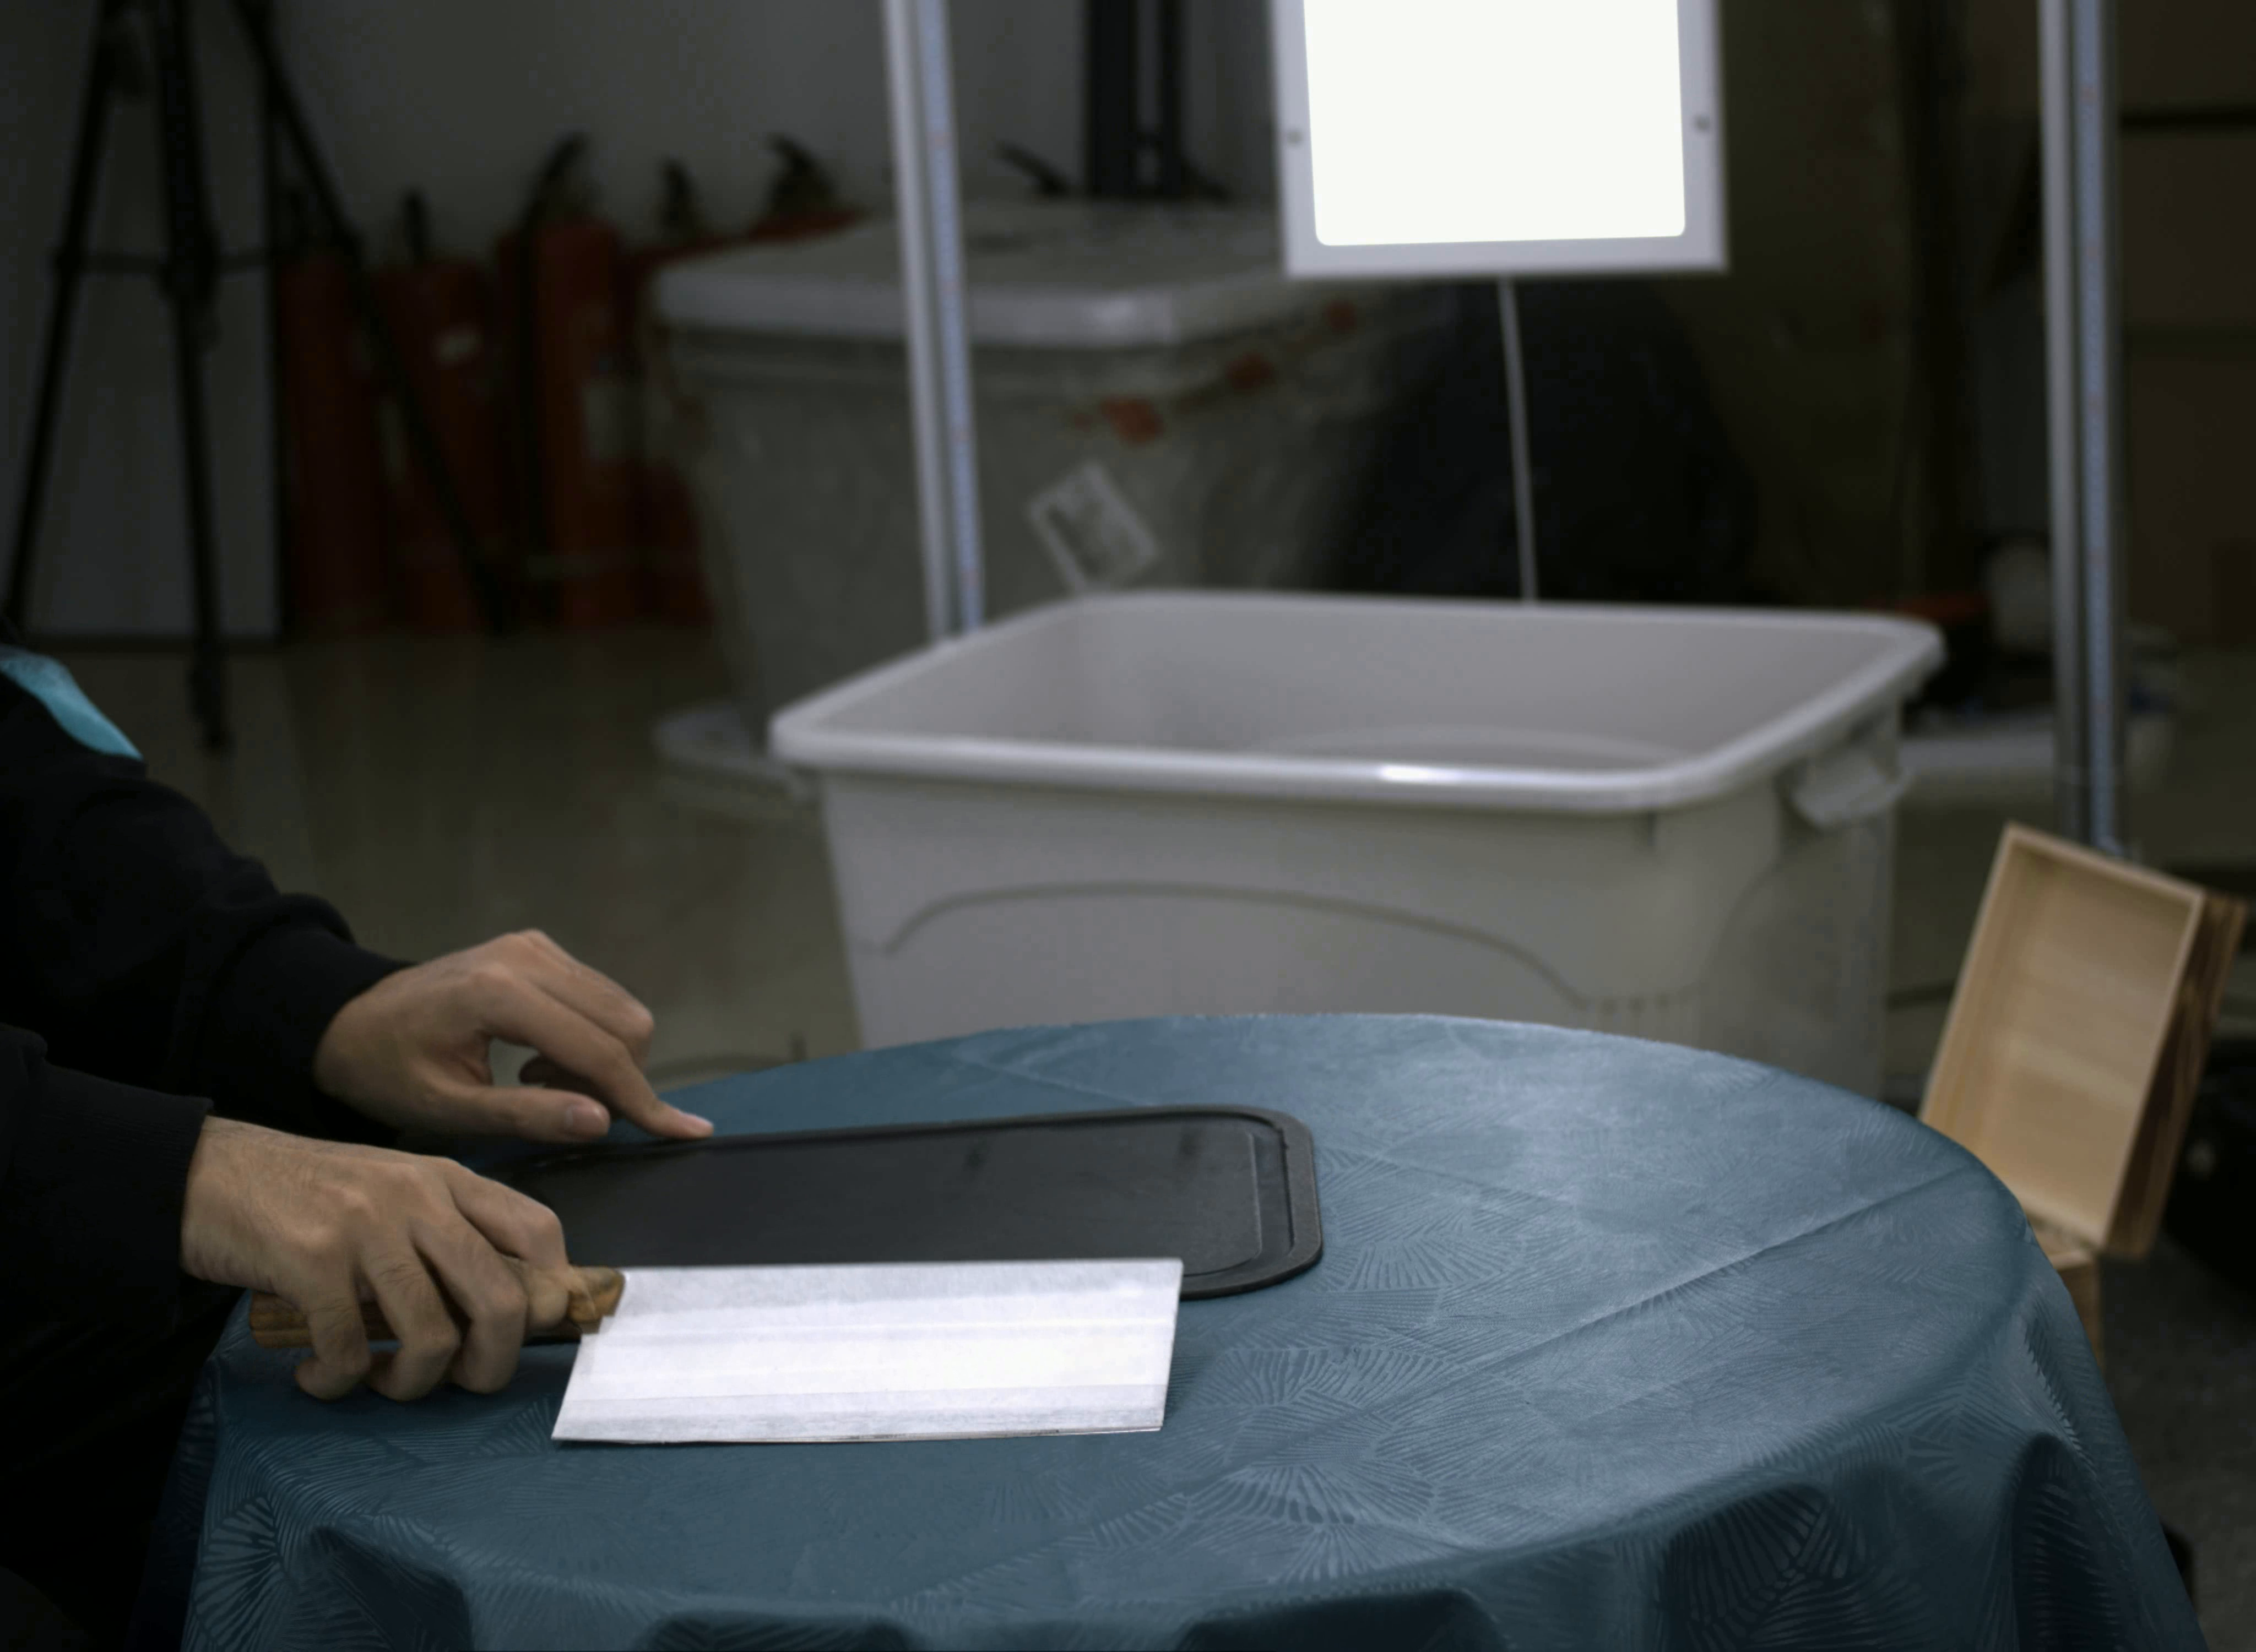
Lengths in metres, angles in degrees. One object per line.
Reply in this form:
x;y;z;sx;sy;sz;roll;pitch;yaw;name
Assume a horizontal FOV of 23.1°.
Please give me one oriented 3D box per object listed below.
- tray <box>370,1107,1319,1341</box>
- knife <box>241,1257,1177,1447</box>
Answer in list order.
-0.097;0.134;1.888;0.325;0.010;0.210;-4;14;4;tray
-0.136;0.165;1.730;0.307;0.021;0.092;-2;29;10;knife
